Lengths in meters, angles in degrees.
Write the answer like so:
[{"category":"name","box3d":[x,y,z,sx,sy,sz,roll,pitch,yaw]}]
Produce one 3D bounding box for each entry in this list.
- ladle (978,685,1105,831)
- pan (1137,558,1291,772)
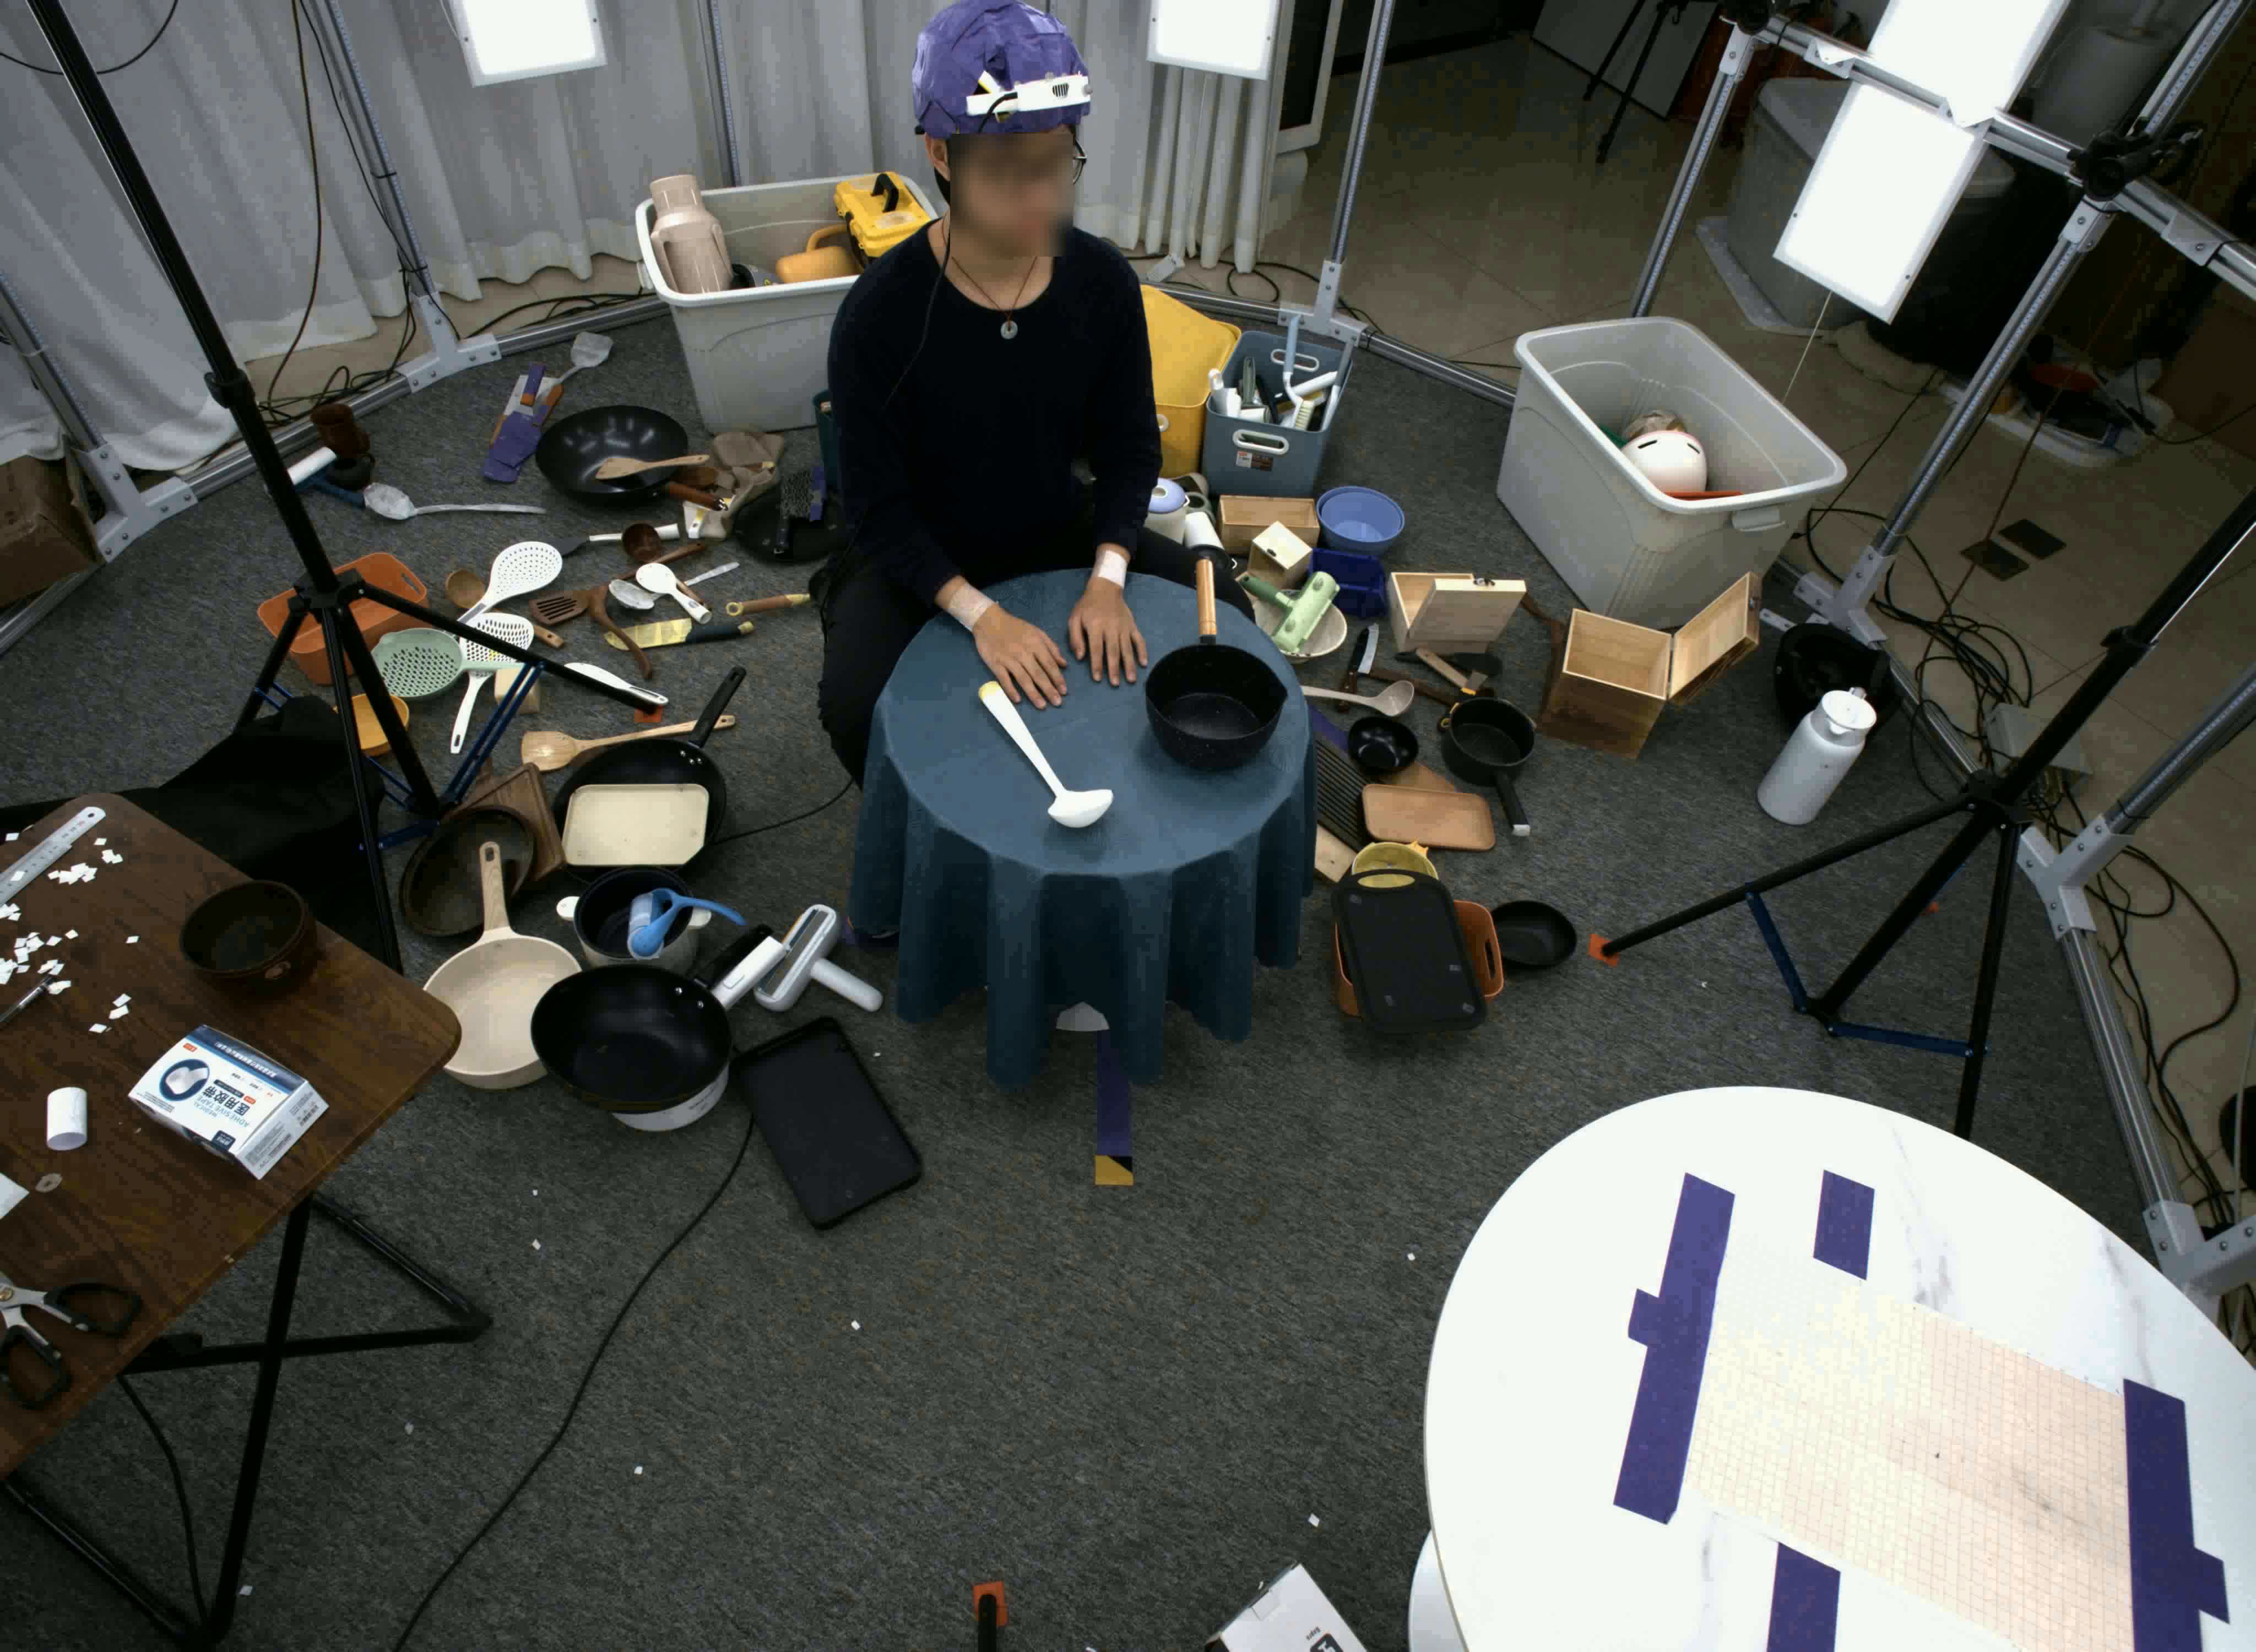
[{"category":"ladle","box3d":[-0.127,-0.099,1.705,0.090,0.068,0.299,-25,54,-15]},{"category":"pan","box3d":[0.112,-0.227,1.803,0.207,0.105,0.351,-1,51,-3]}]
